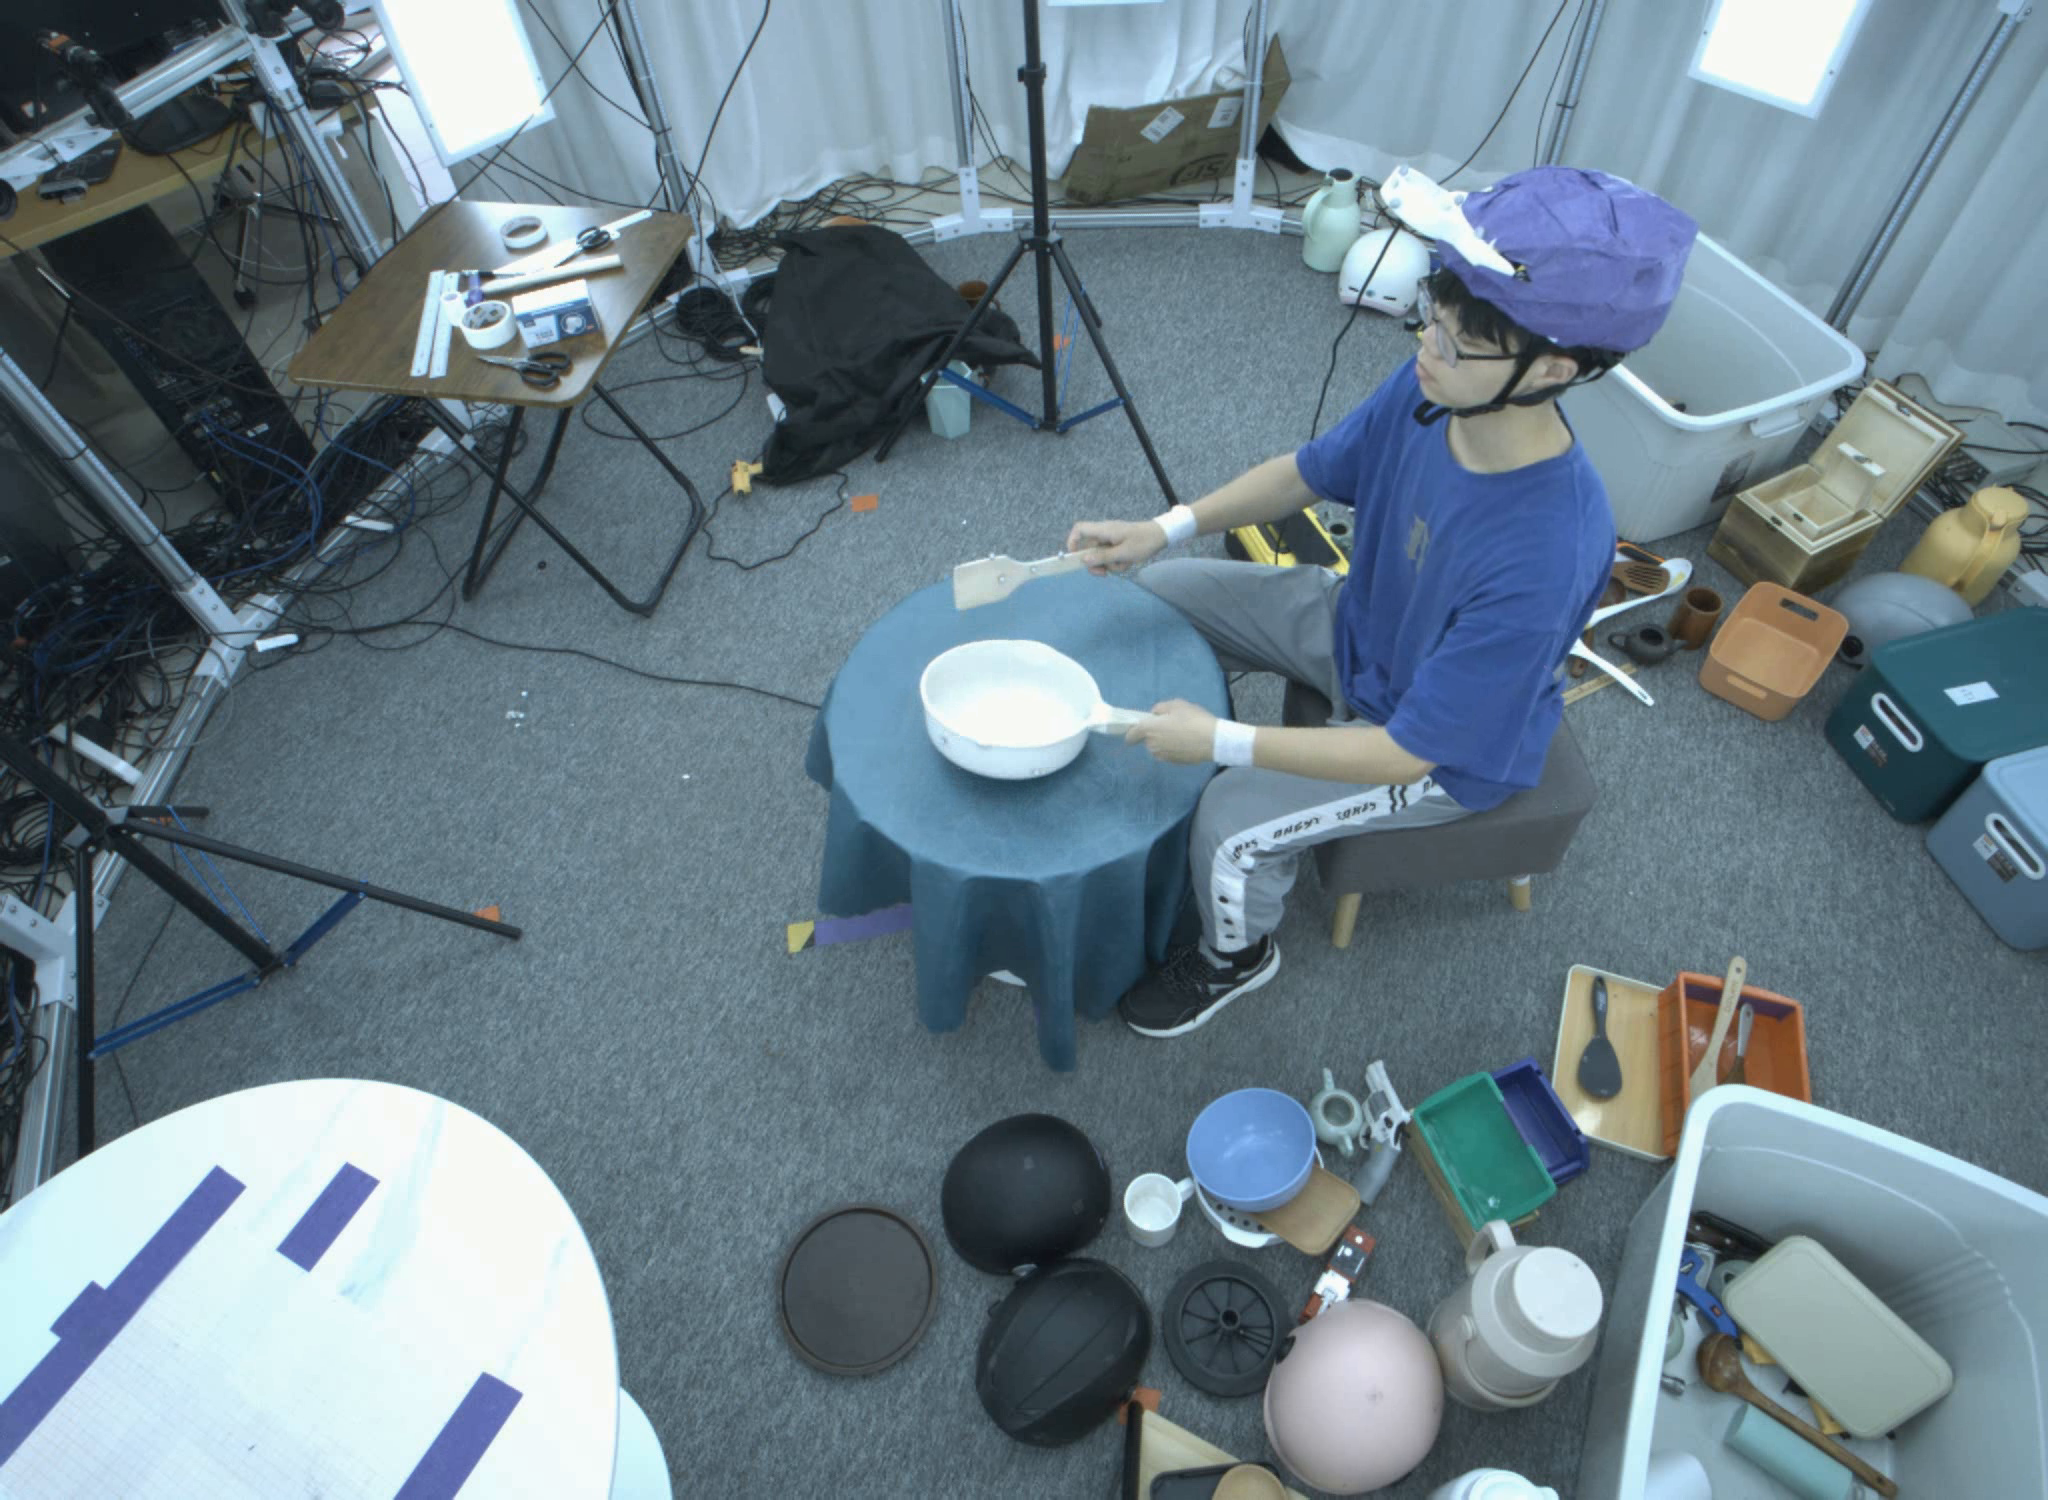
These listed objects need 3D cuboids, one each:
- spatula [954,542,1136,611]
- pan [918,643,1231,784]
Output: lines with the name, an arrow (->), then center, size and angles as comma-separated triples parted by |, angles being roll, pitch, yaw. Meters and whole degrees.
spatula -> 0.033, -0.269, 1.814 | 0.296, 0.073, 0.010 | -15, 37, -19
pan -> 0.064, -0.032, 1.714 | 0.433, 0.102, 0.263 | 13, 39, 6
